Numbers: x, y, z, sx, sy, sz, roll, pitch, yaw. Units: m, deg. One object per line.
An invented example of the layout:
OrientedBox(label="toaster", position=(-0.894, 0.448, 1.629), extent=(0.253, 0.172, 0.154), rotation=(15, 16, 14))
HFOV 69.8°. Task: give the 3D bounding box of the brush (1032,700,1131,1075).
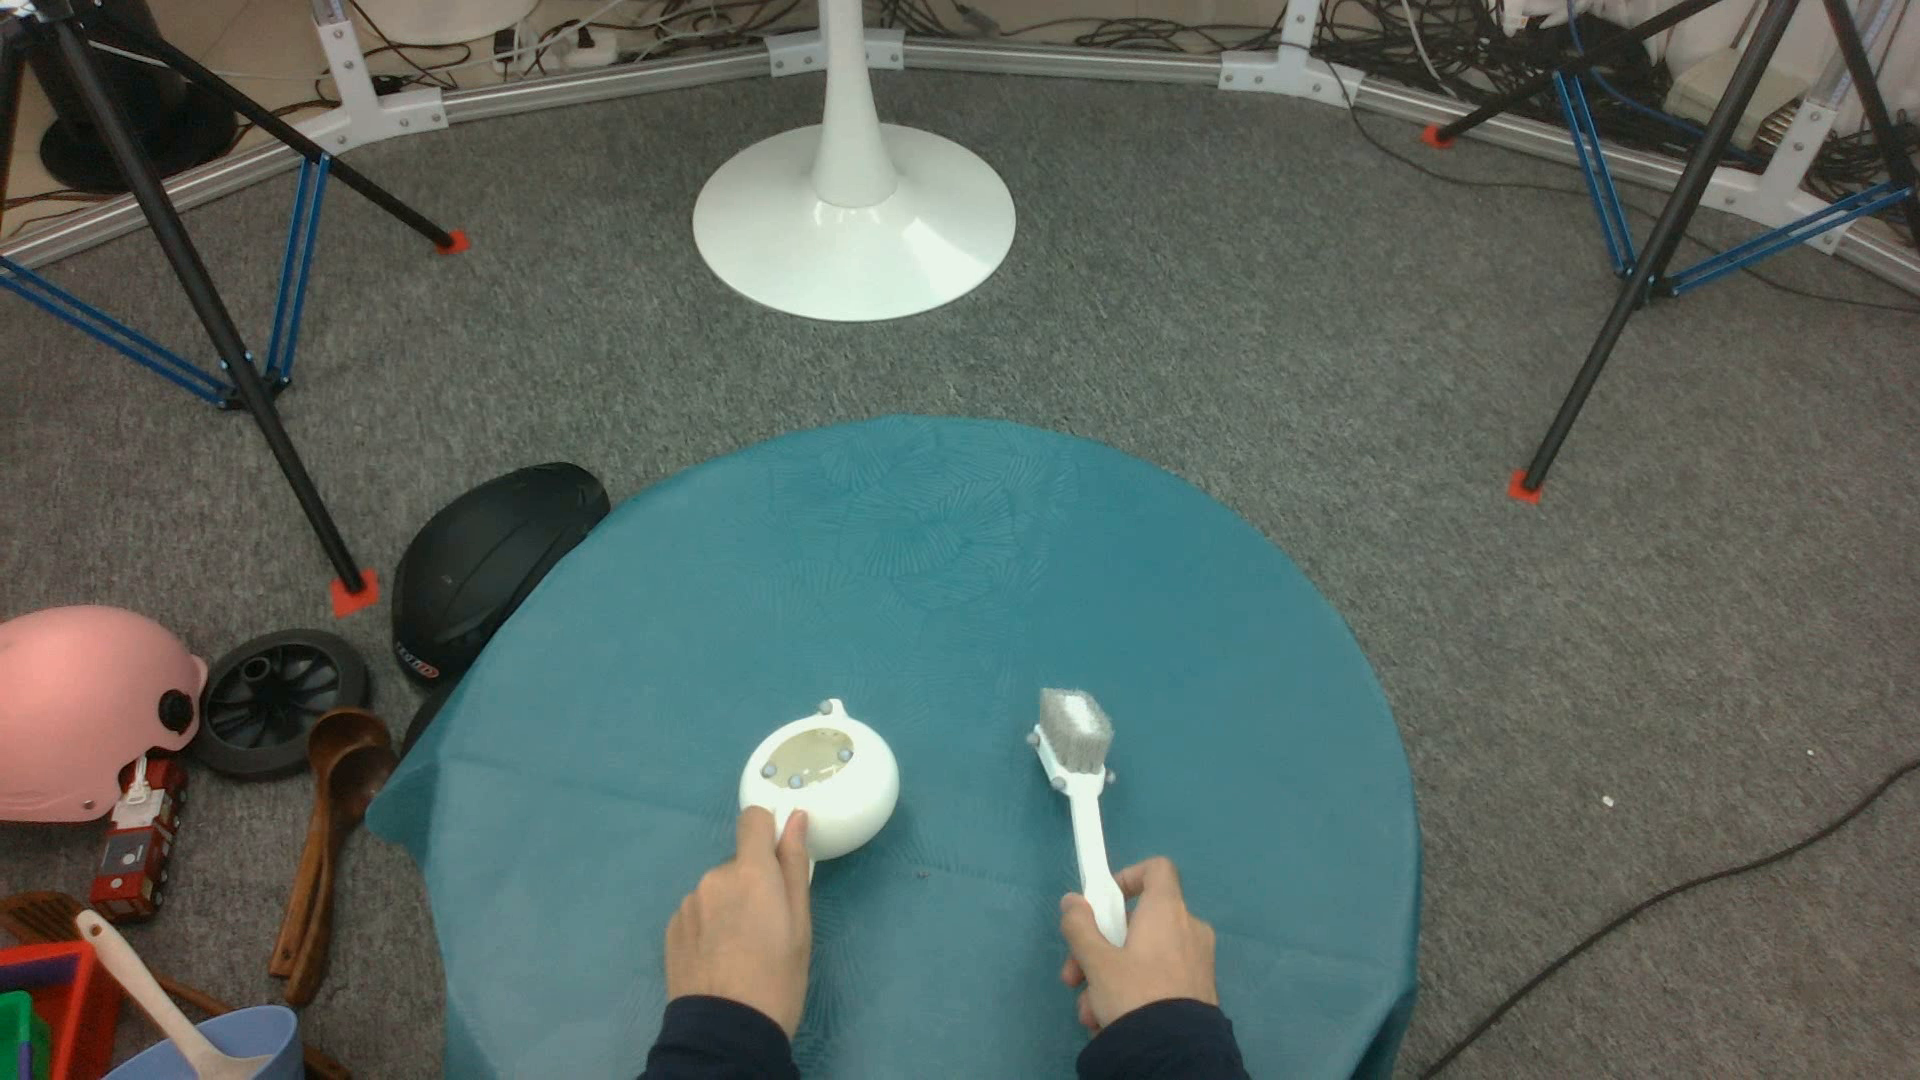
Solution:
OrientedBox(label="brush", position=(0.074, 0.179, 0.773), extent=(0.034, 0.050, 0.244), rotation=(13, 34, -13))

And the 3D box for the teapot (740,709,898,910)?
OrientedBox(label="teapot", position=(-0.085, 0.157, 0.803), extent=(0.093, 0.056, 0.128), rotation=(-2, 34, 11))
